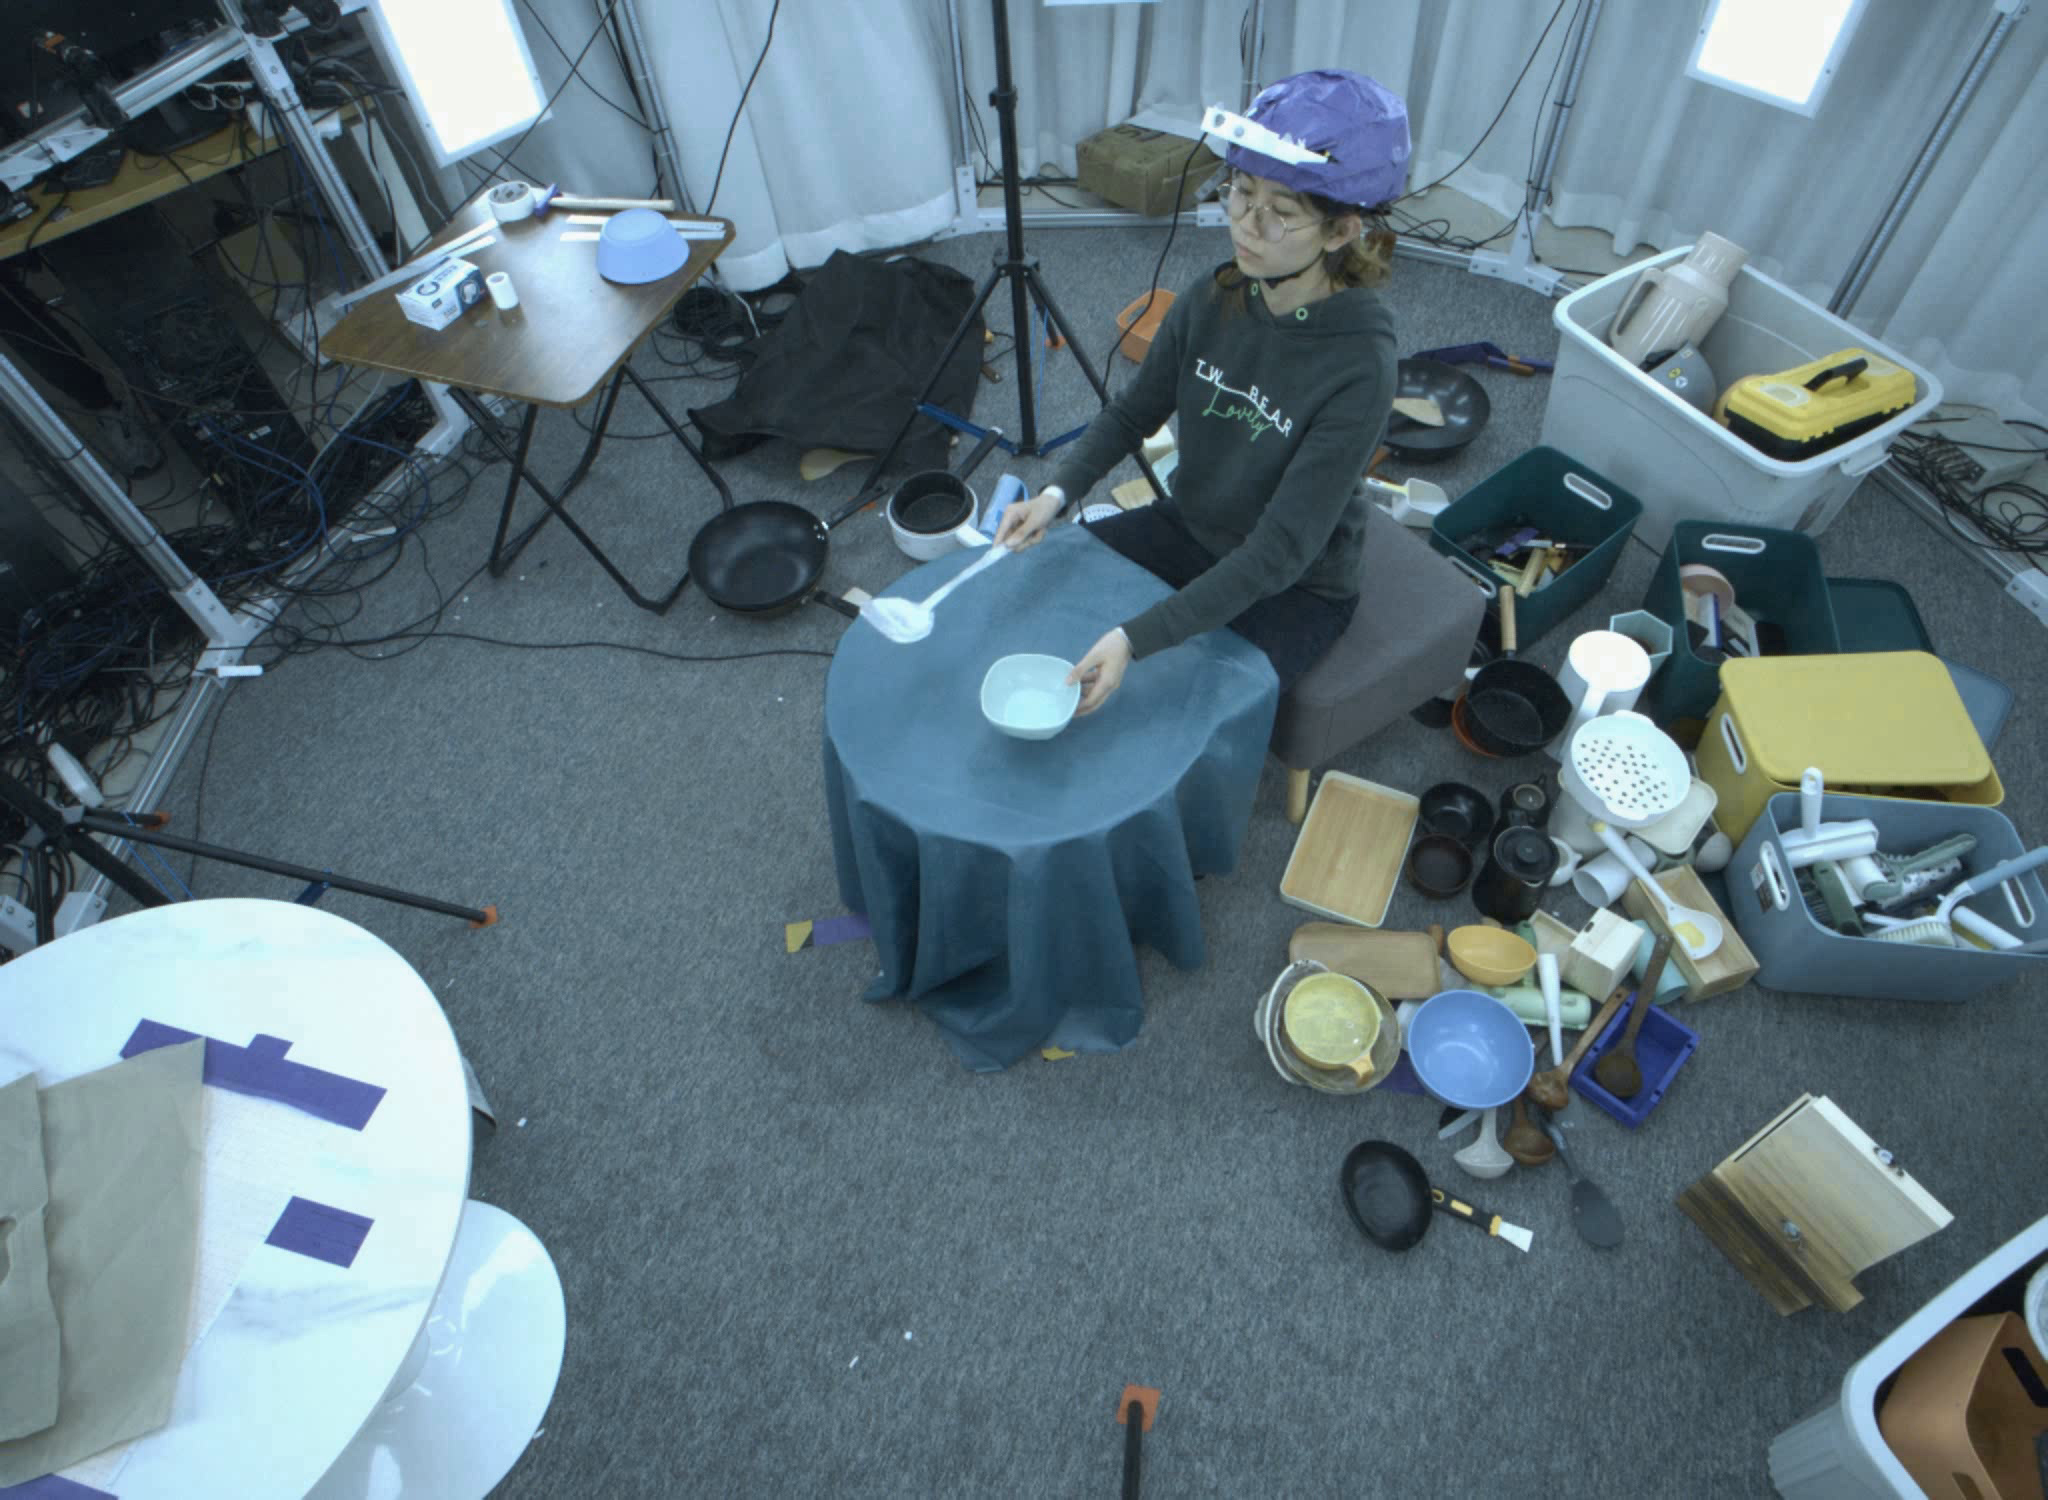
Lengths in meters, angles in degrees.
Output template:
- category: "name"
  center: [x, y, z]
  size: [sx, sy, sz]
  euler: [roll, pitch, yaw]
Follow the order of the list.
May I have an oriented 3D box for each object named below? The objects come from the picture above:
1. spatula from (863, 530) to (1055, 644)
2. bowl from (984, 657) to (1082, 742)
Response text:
- category: "spatula"
  center: [-0.082, -0.257, 1.821]
  size: [0.097, 0.045, 0.368]
  euler: [40, 59, 19]
- category: "bowl"
  center: [0.014, -0.062, 1.760]
  size: [0.151, 0.059, 0.150]
  euler: [0, 54, 2]
